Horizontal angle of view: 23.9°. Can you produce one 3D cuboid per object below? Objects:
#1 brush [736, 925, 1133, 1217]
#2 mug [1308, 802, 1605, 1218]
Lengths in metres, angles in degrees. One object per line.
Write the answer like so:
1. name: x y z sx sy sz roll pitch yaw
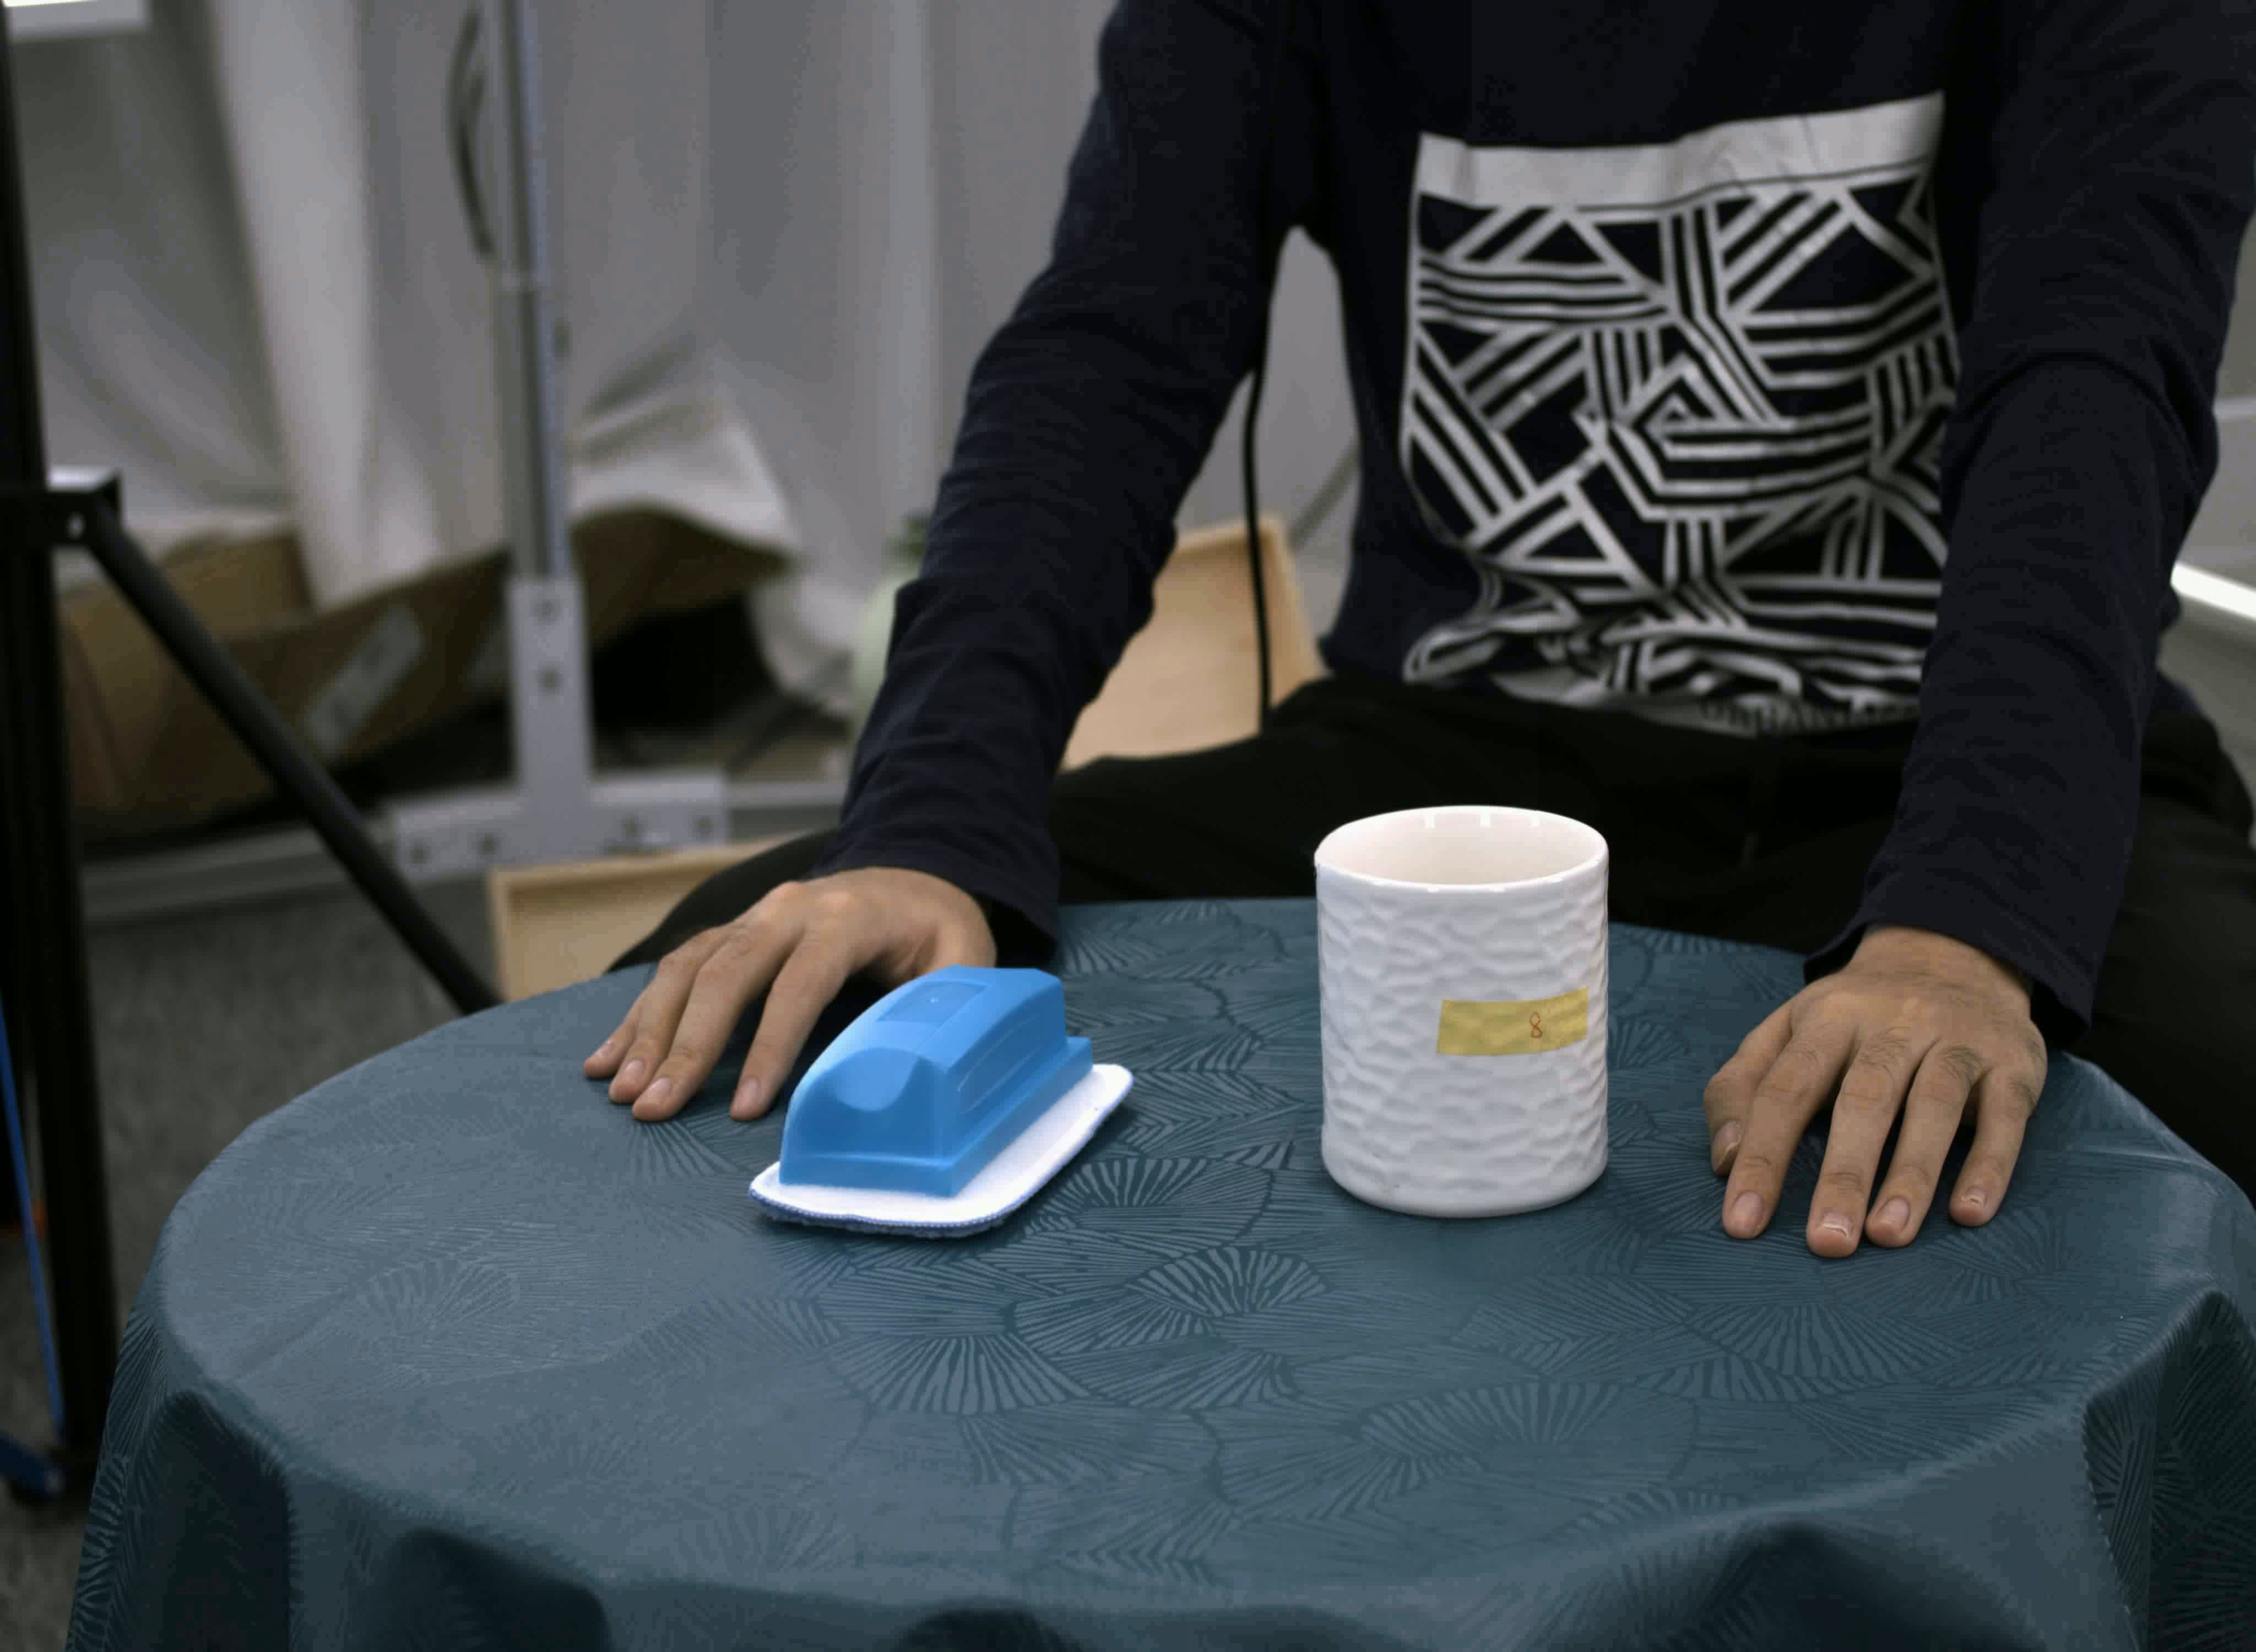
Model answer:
1. brush: -0.056 0.069 1.594 0.085 0.056 0.142 7 21 21
2. mug: 0.097 0.050 1.564 0.084 0.102 0.119 -3 15 1
